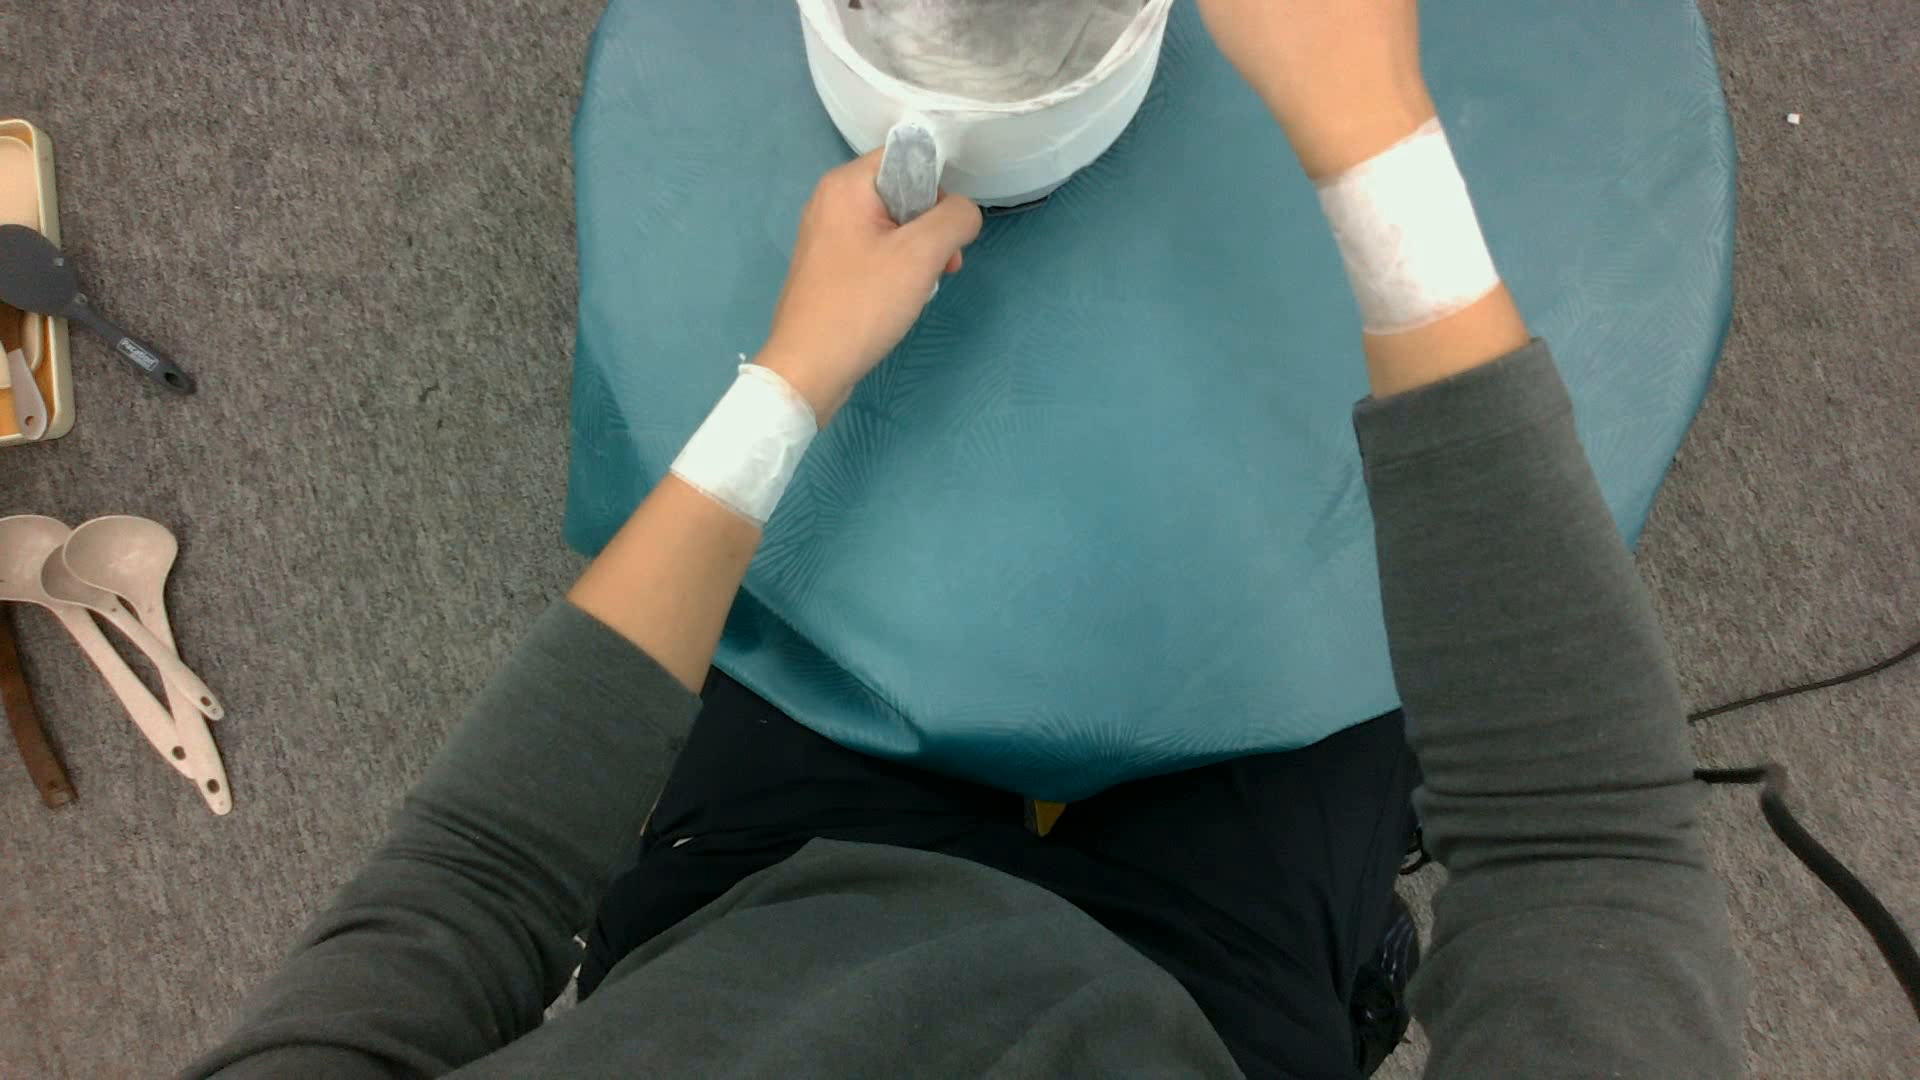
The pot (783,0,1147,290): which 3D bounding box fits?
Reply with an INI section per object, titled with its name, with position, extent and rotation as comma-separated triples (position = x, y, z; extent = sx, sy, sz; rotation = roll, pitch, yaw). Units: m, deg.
[pot]
position = -0.005, -0.239, 0.649
extent = 0.179, 0.136, 0.234
rotation = 16, 84, 1
